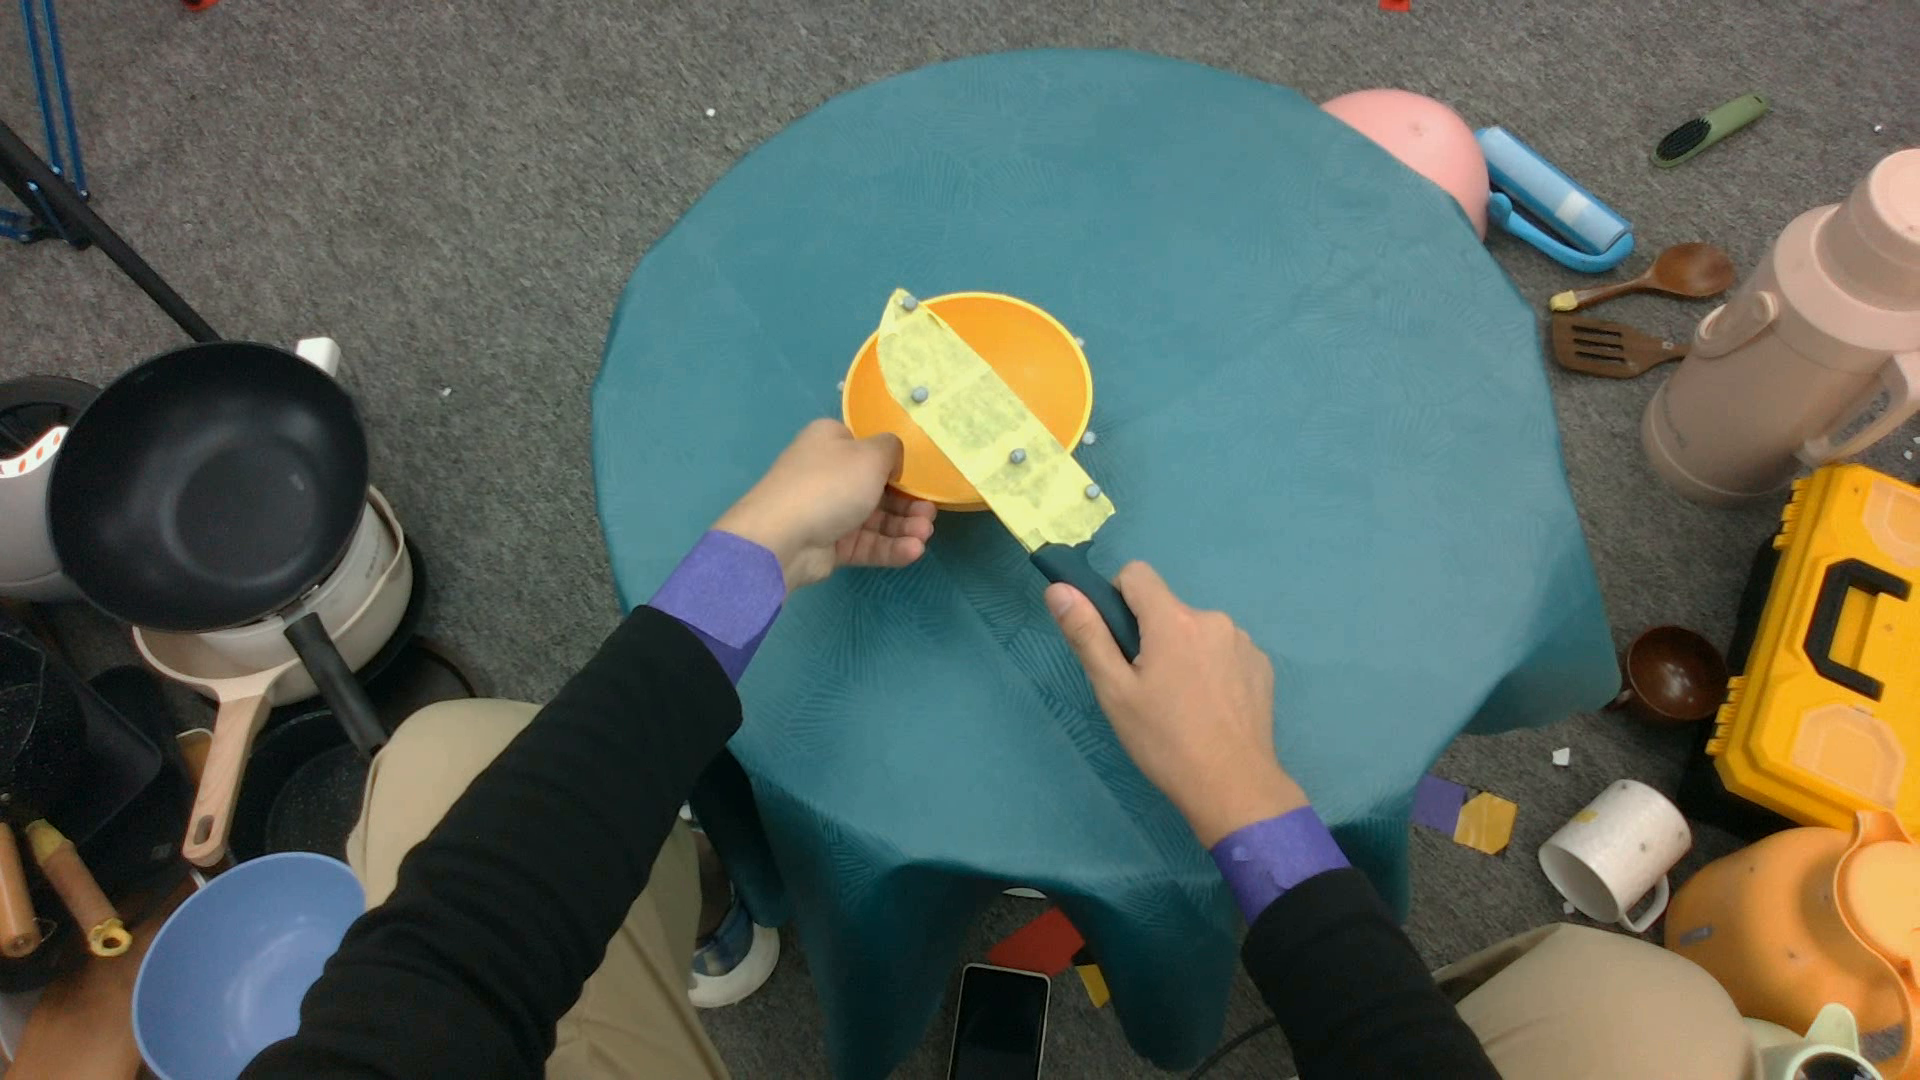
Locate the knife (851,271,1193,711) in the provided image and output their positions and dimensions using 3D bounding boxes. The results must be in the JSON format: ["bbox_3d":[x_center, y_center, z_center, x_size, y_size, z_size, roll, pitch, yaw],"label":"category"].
[{"bbox_3d":[0.036,-0.030,0.741,0.081,0.027,0.289,-37,89,-40],"label":"knife"}]

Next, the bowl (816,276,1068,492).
[{"bbox_3d":[-0.008,-0.082,0.811,0.145,0.060,0.146,-3,61,5],"label":"bowl"}]
